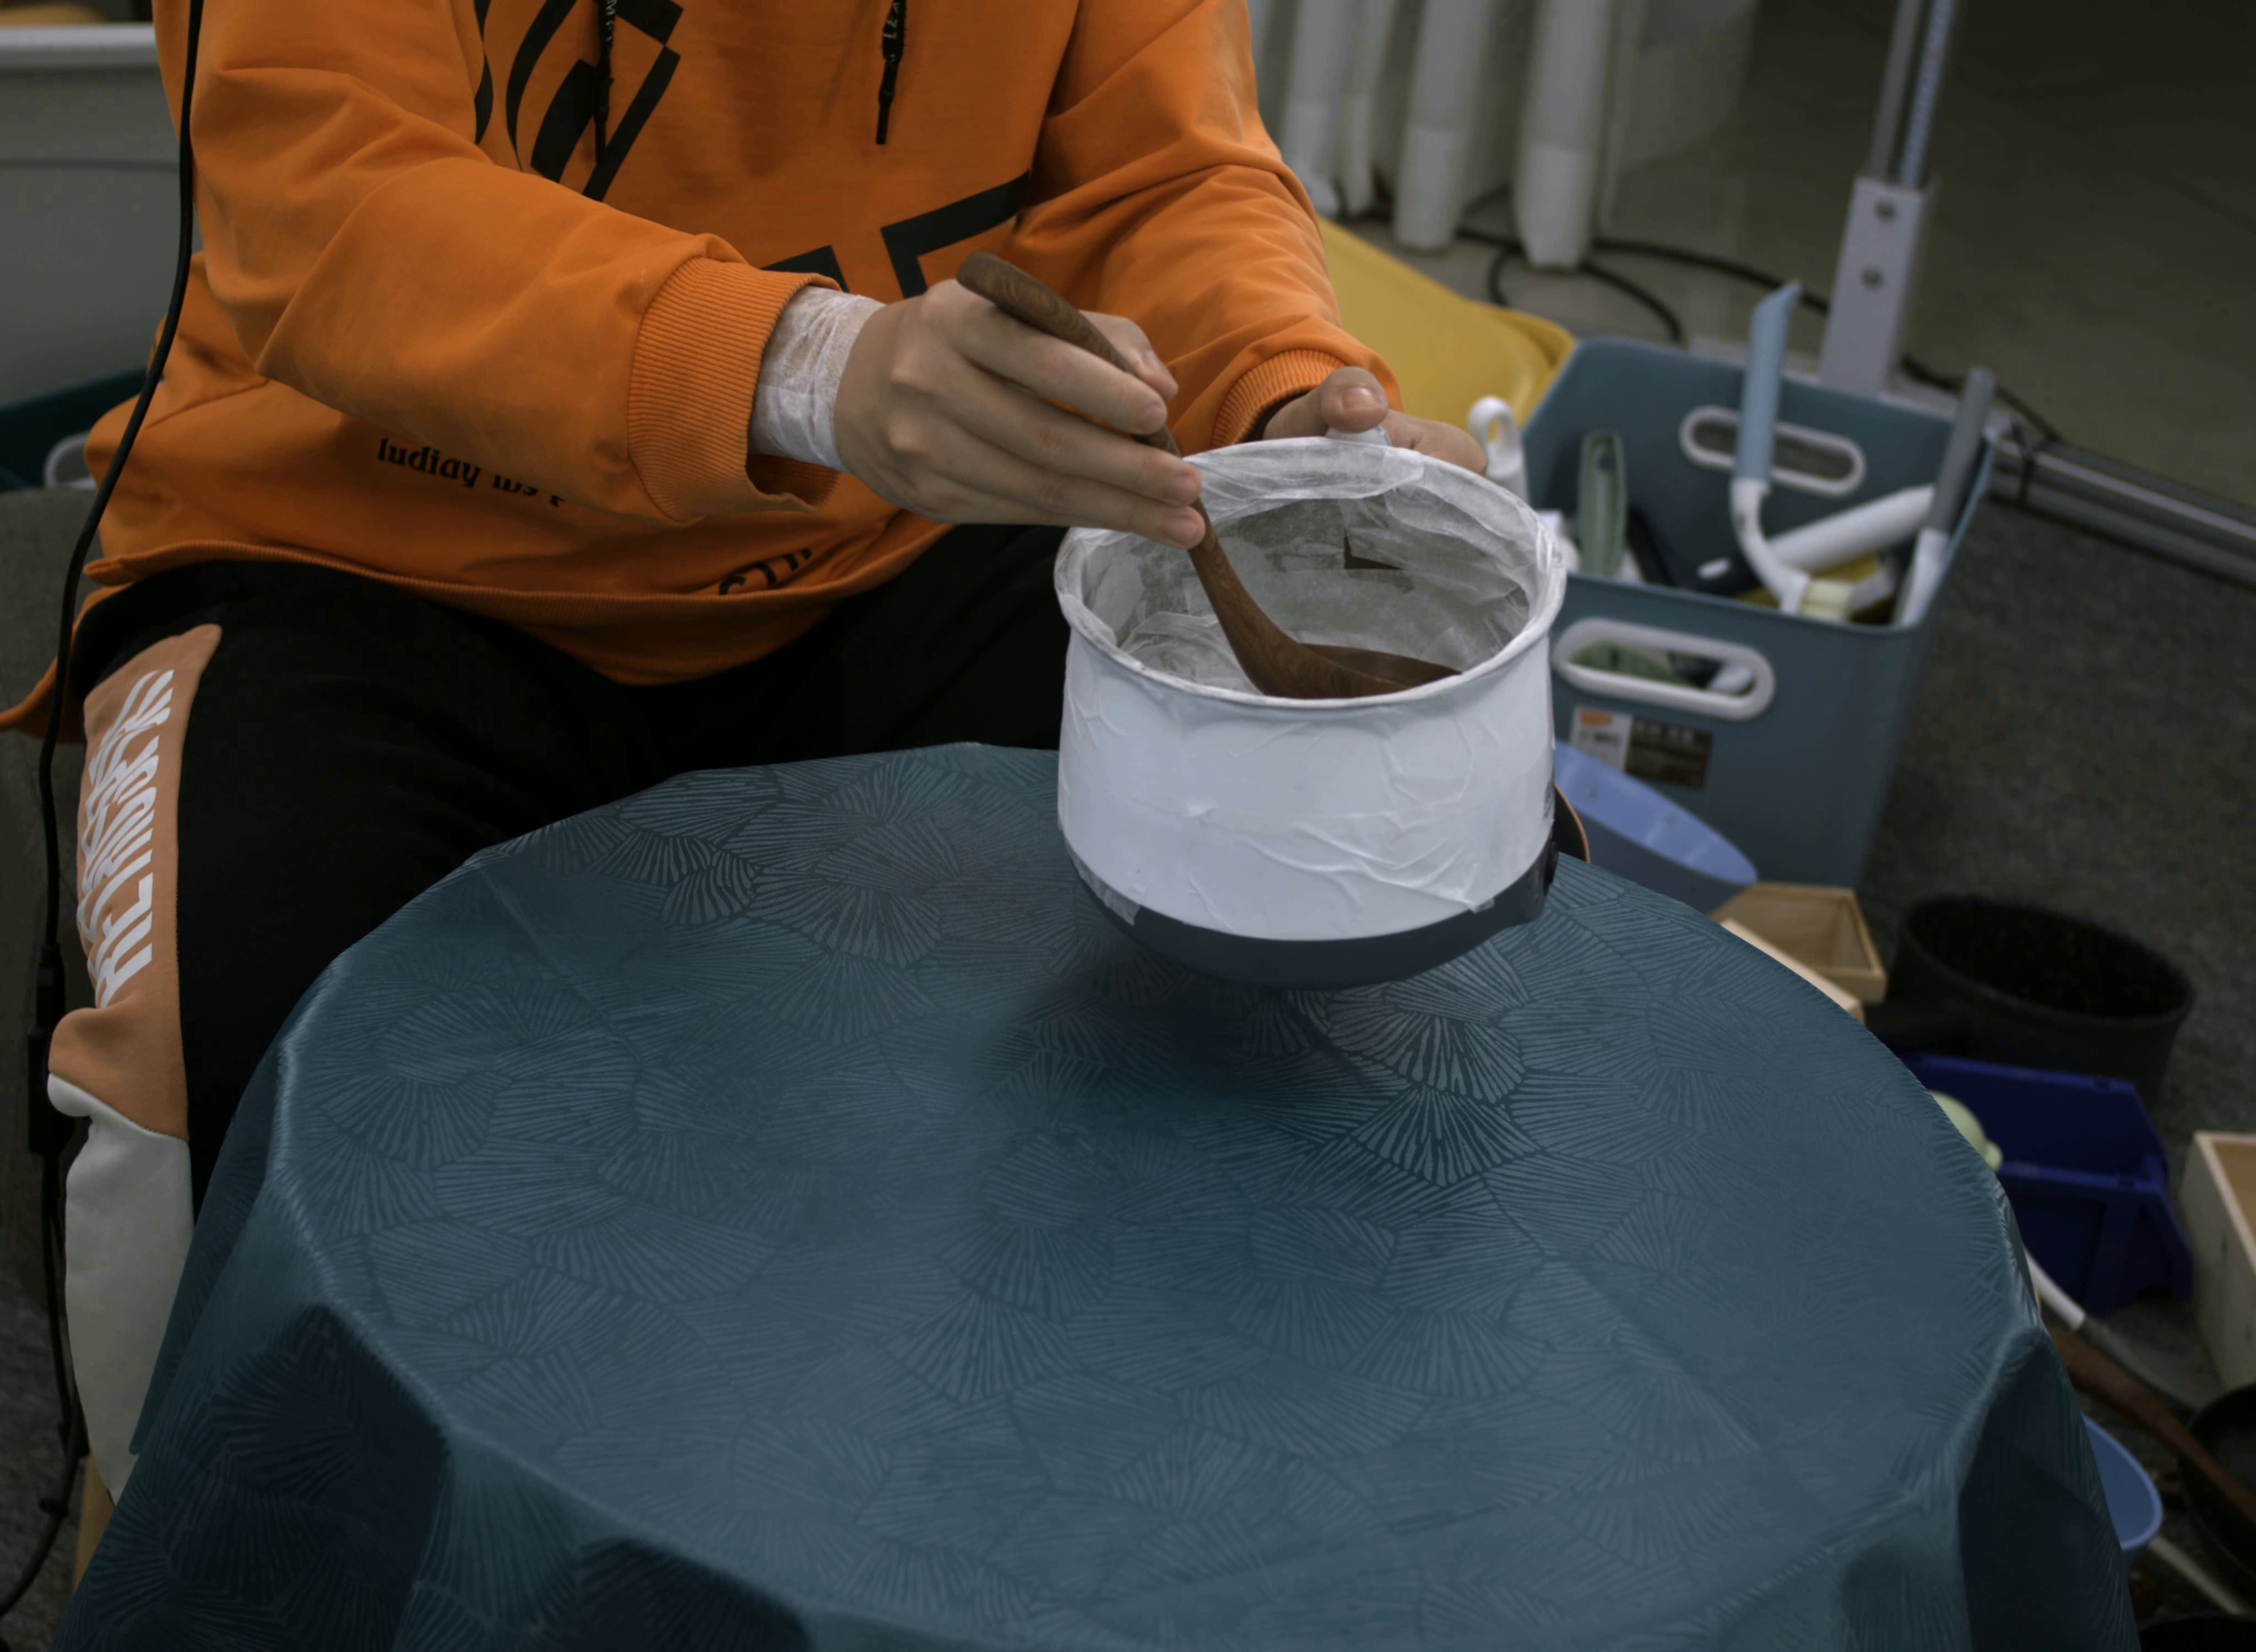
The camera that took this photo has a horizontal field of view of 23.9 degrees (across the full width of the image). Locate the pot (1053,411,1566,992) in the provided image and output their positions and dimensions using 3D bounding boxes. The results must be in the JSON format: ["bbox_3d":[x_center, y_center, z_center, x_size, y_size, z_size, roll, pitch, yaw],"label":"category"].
[{"bbox_3d":[0.067,-0.052,1.891,0.178,0.136,0.235,5,34,8],"label":"pot"}]

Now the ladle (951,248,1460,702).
[{"bbox_3d":[0.032,-0.117,1.831,0.065,0.258,0.077,-47,29,-17],"label":"ladle"}]
